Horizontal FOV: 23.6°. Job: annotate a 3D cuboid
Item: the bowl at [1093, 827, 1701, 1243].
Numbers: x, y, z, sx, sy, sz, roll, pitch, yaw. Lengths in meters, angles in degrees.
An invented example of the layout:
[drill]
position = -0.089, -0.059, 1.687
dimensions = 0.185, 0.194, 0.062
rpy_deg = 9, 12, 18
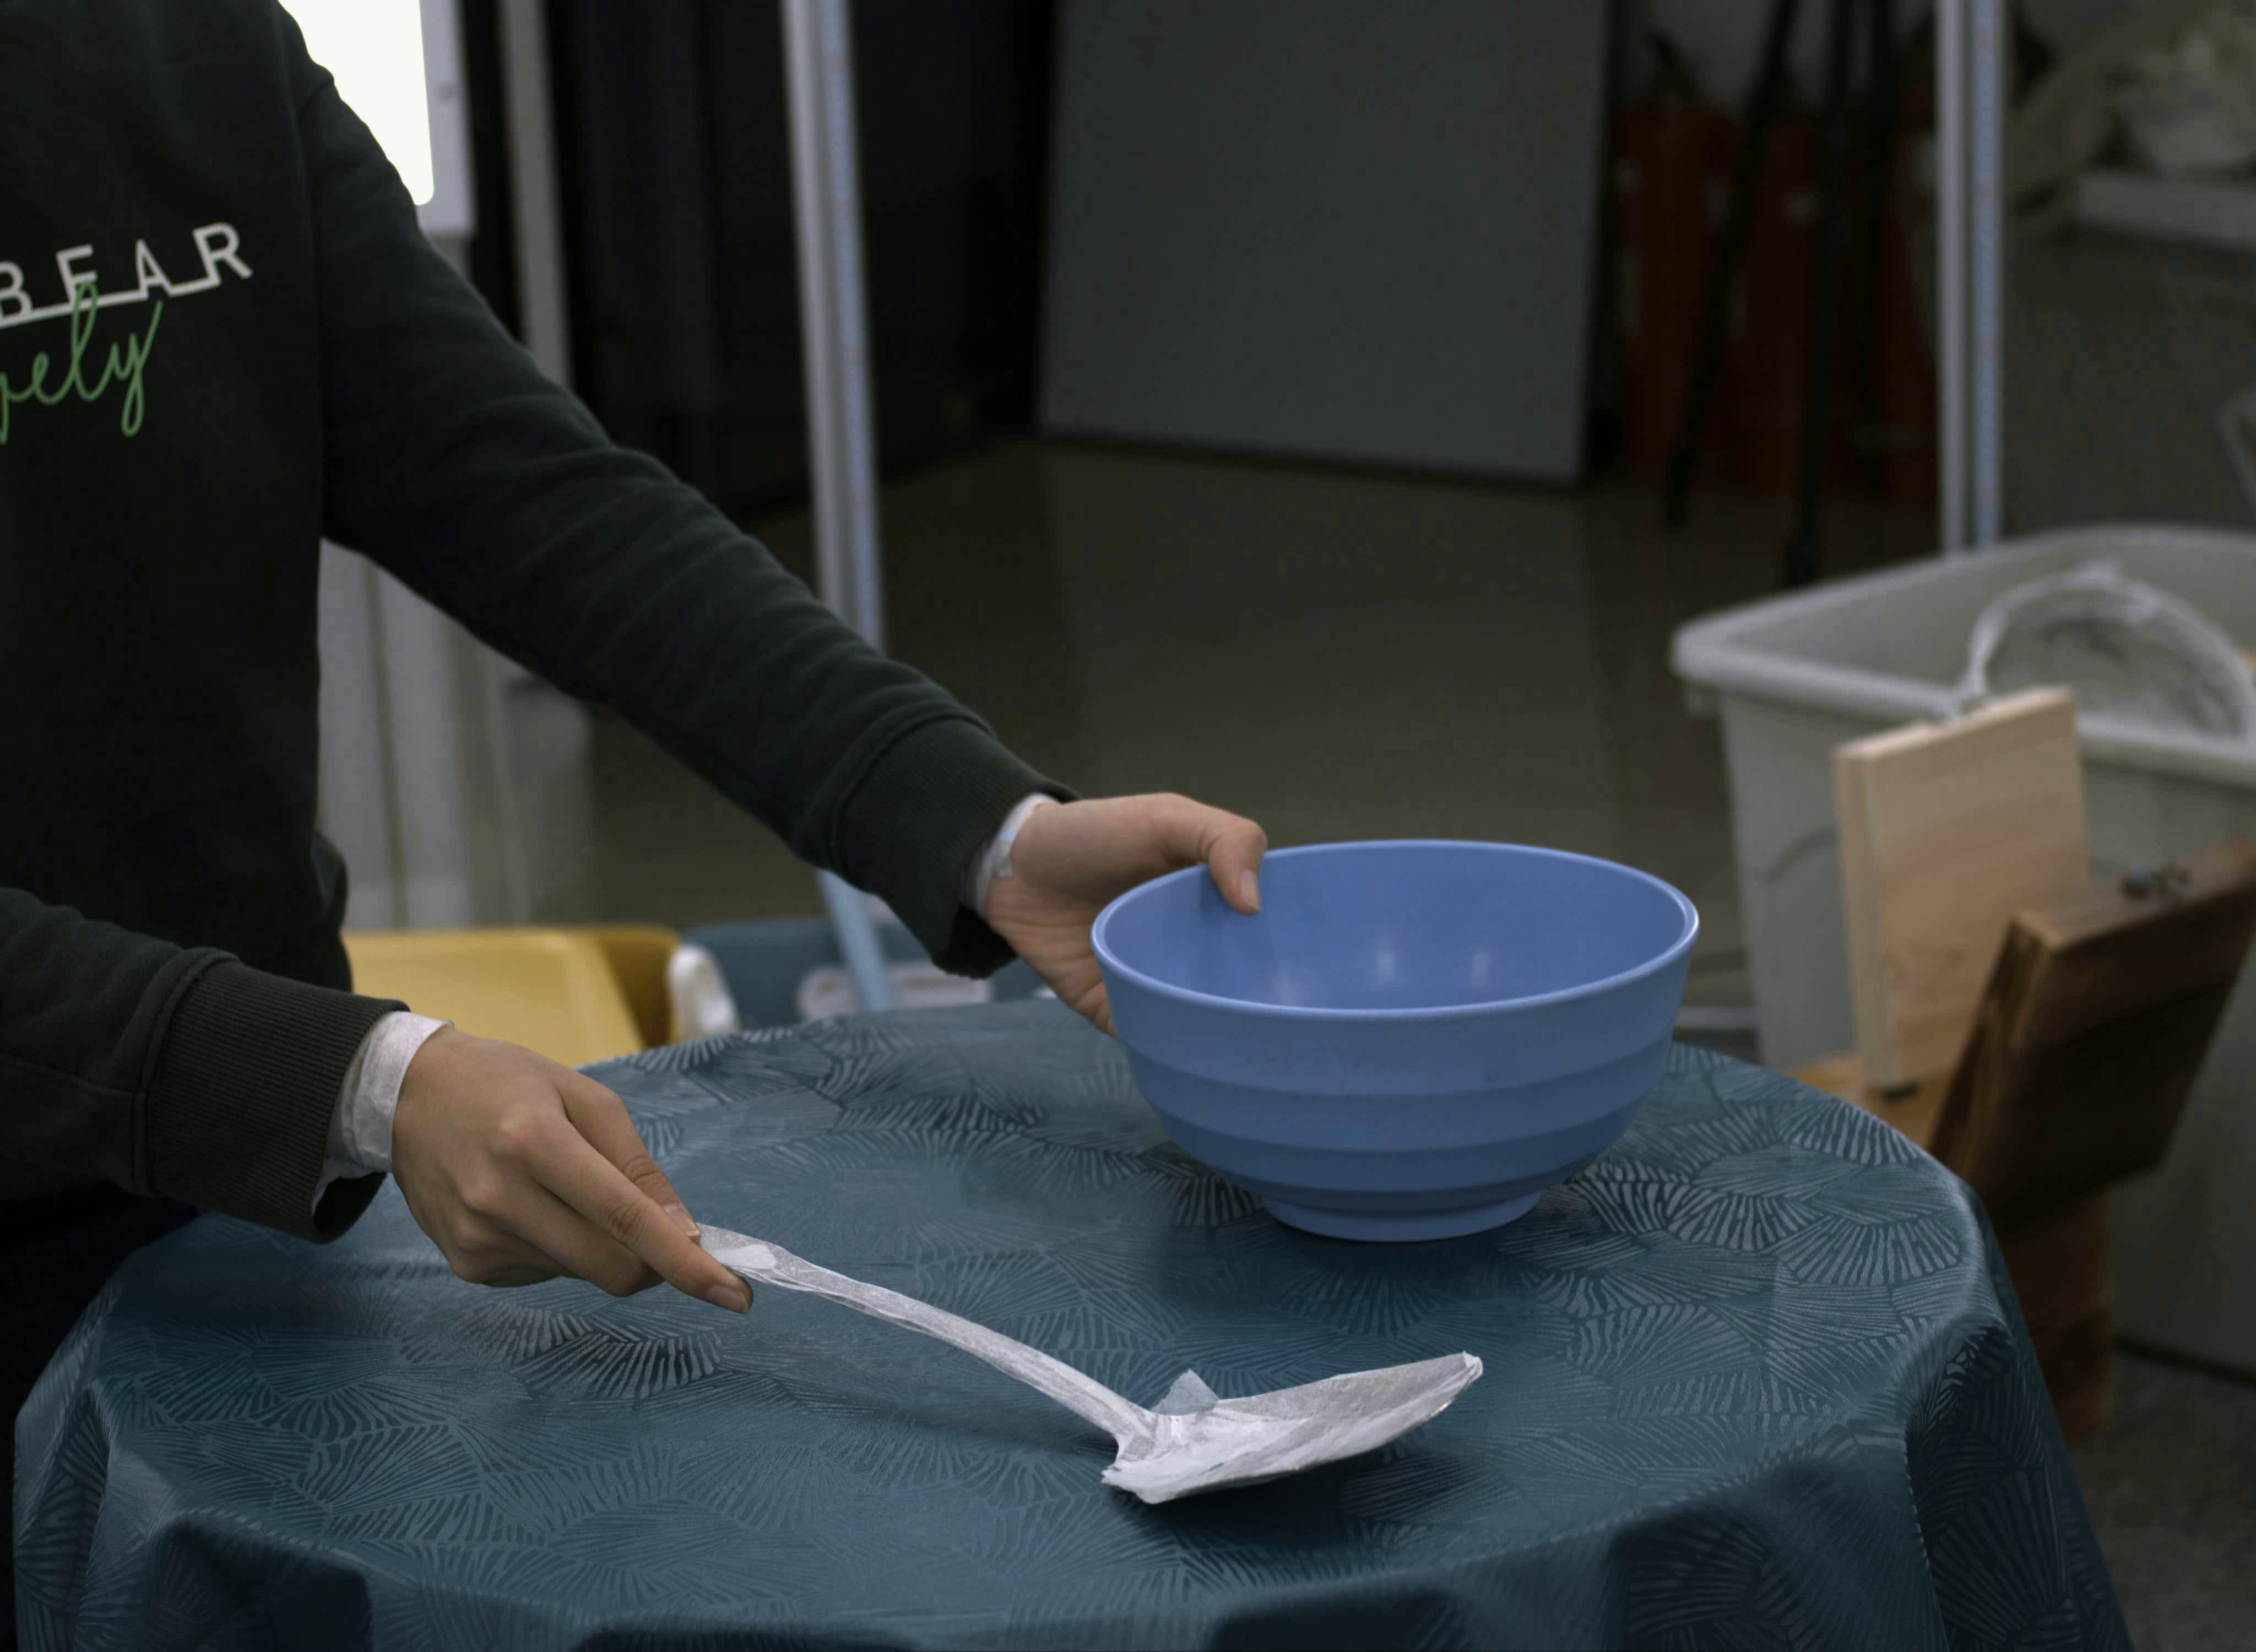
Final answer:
[bowl]
position = 0.087, 0.073, 1.731
dimensions = 0.194, 0.096, 0.197
rpy_deg = -2, 16, 0

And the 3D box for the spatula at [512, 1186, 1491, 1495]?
[spatula]
position = -0.058, 0.140, 1.582
dimensions = 0.367, 0.045, 0.097
rpy_deg = 15, 27, 37
